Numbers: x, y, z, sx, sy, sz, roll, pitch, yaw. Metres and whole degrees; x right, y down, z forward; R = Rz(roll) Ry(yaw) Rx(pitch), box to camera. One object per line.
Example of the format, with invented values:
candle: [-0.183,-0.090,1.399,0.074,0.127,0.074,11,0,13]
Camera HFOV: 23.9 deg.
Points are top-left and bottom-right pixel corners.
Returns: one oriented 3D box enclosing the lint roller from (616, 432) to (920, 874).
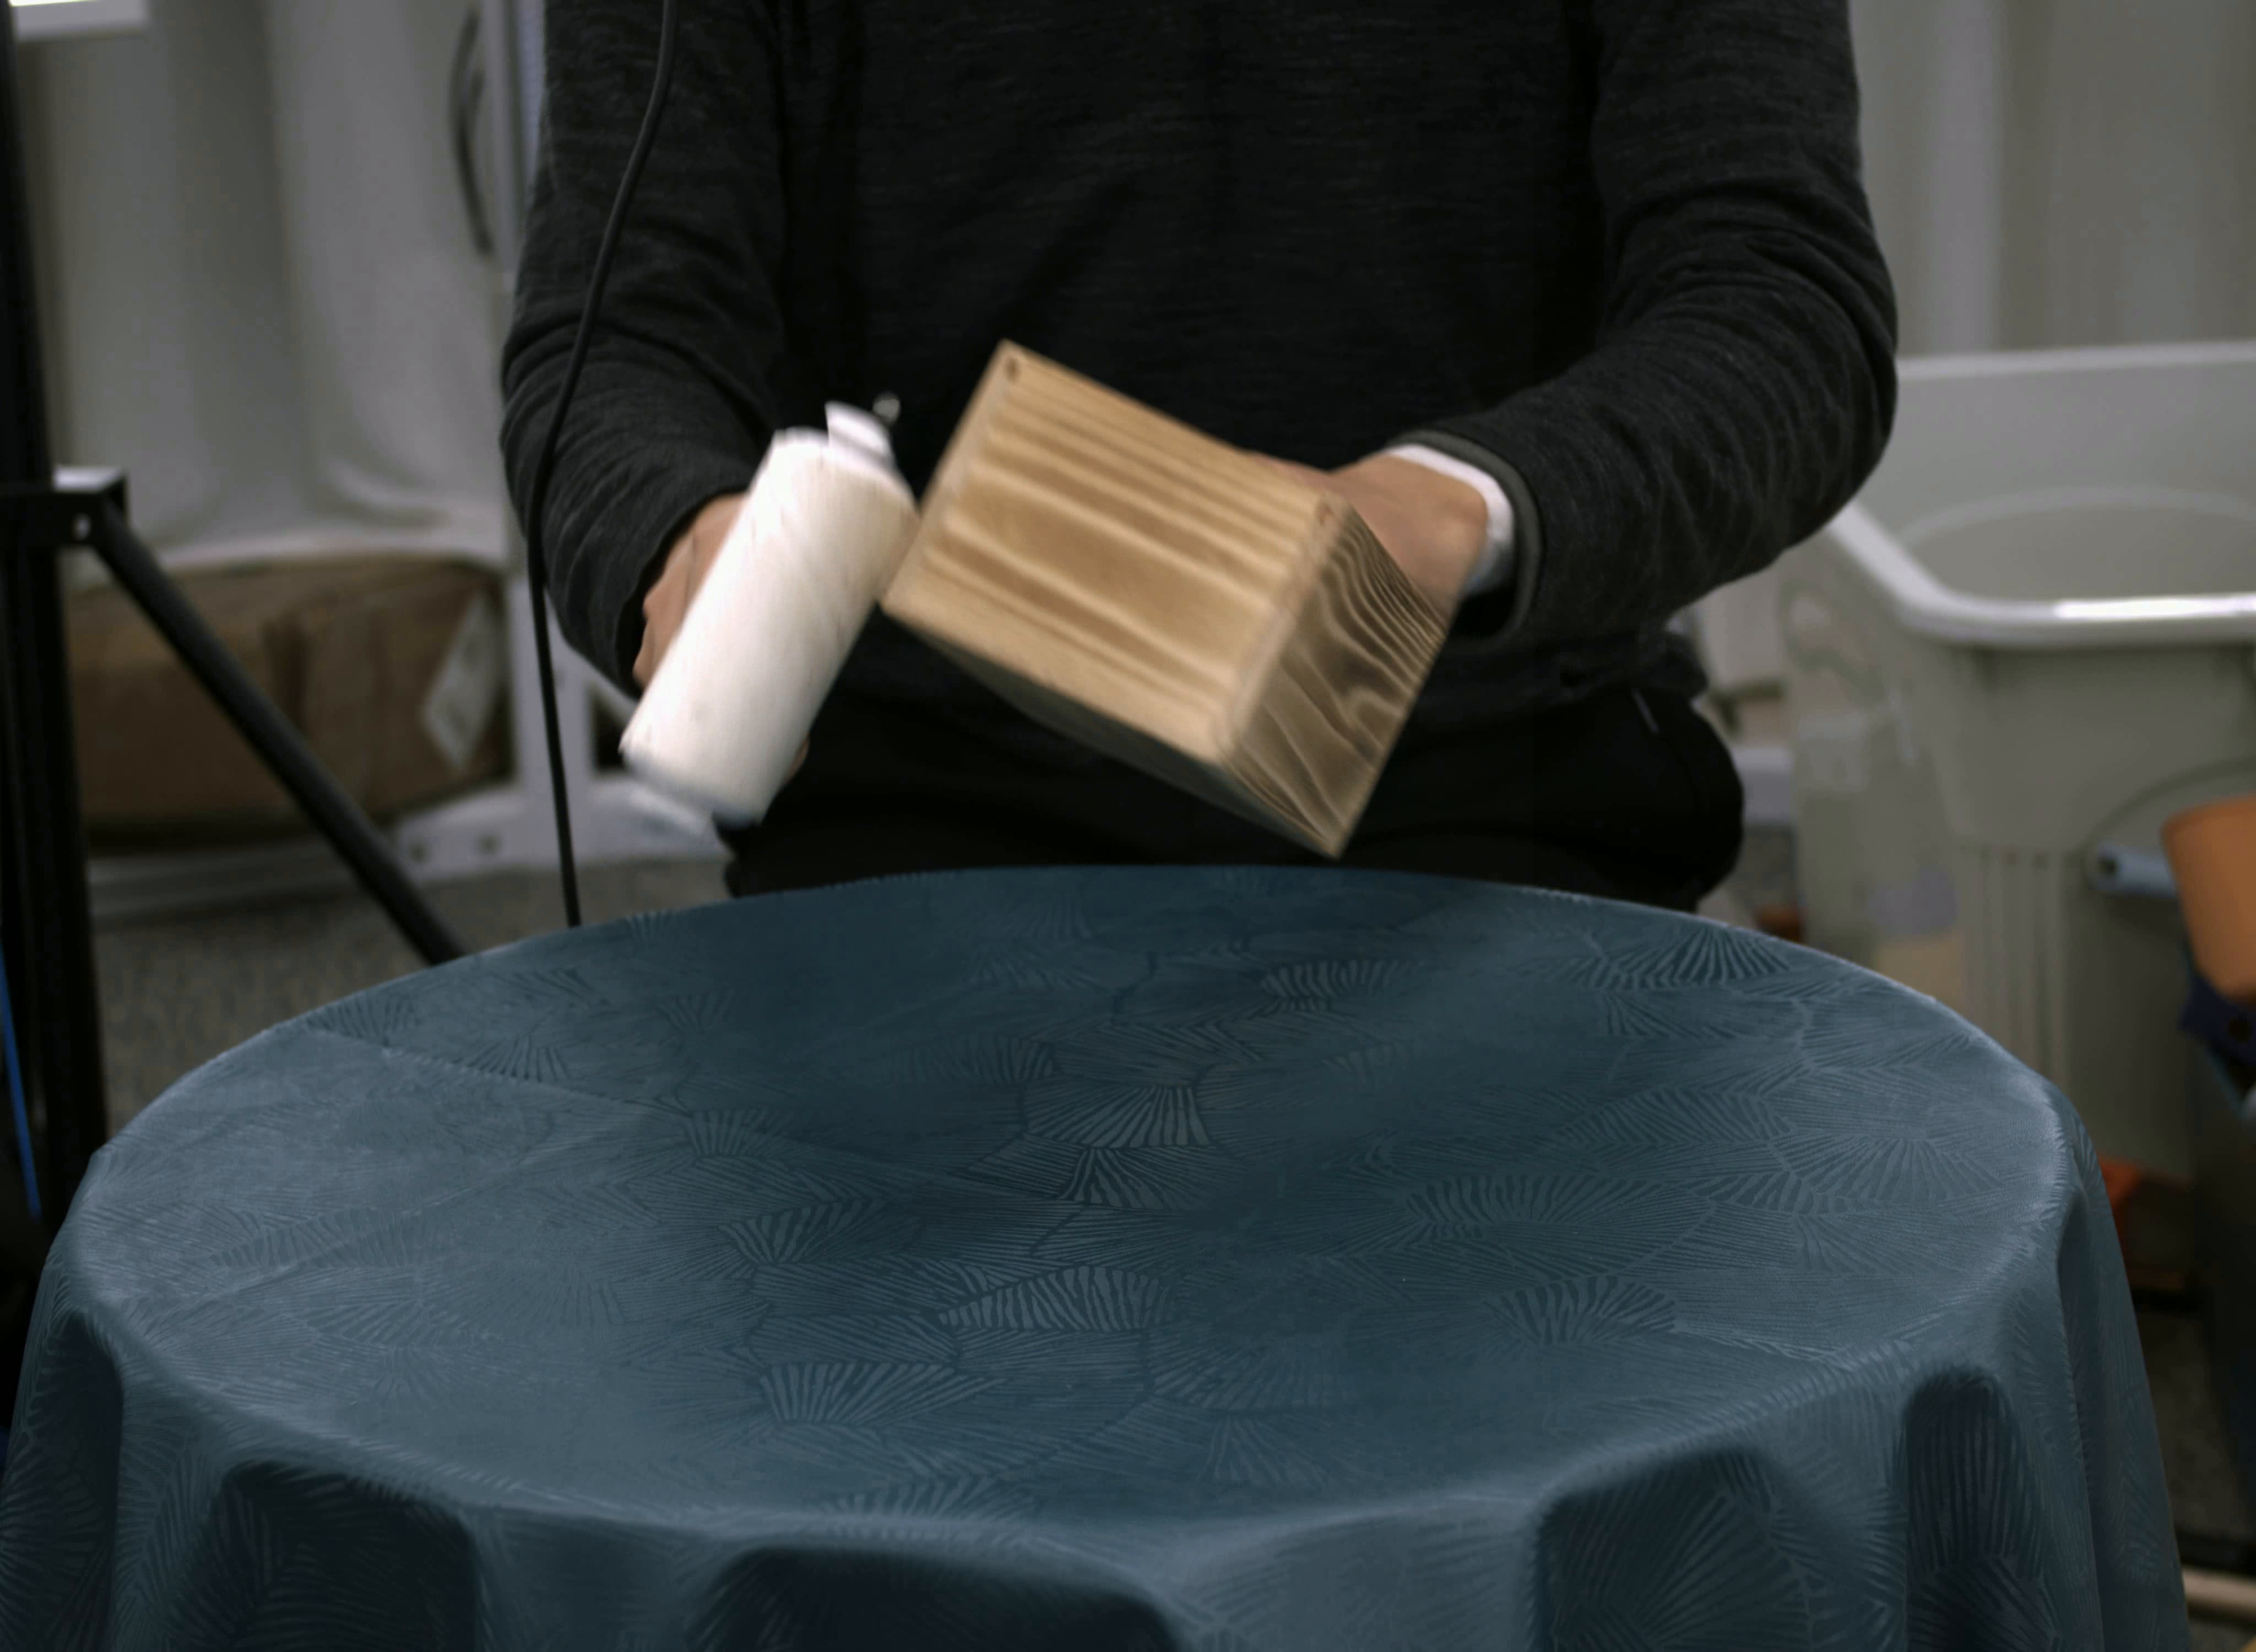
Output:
lint roller: [-0.115,-0.053,1.586,0.049,0.133,0.182,29,-3,-12]

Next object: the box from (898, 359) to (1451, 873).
box: [0.017,-0.055,1.512,0.108,0.080,0.209,24,-3,12]
